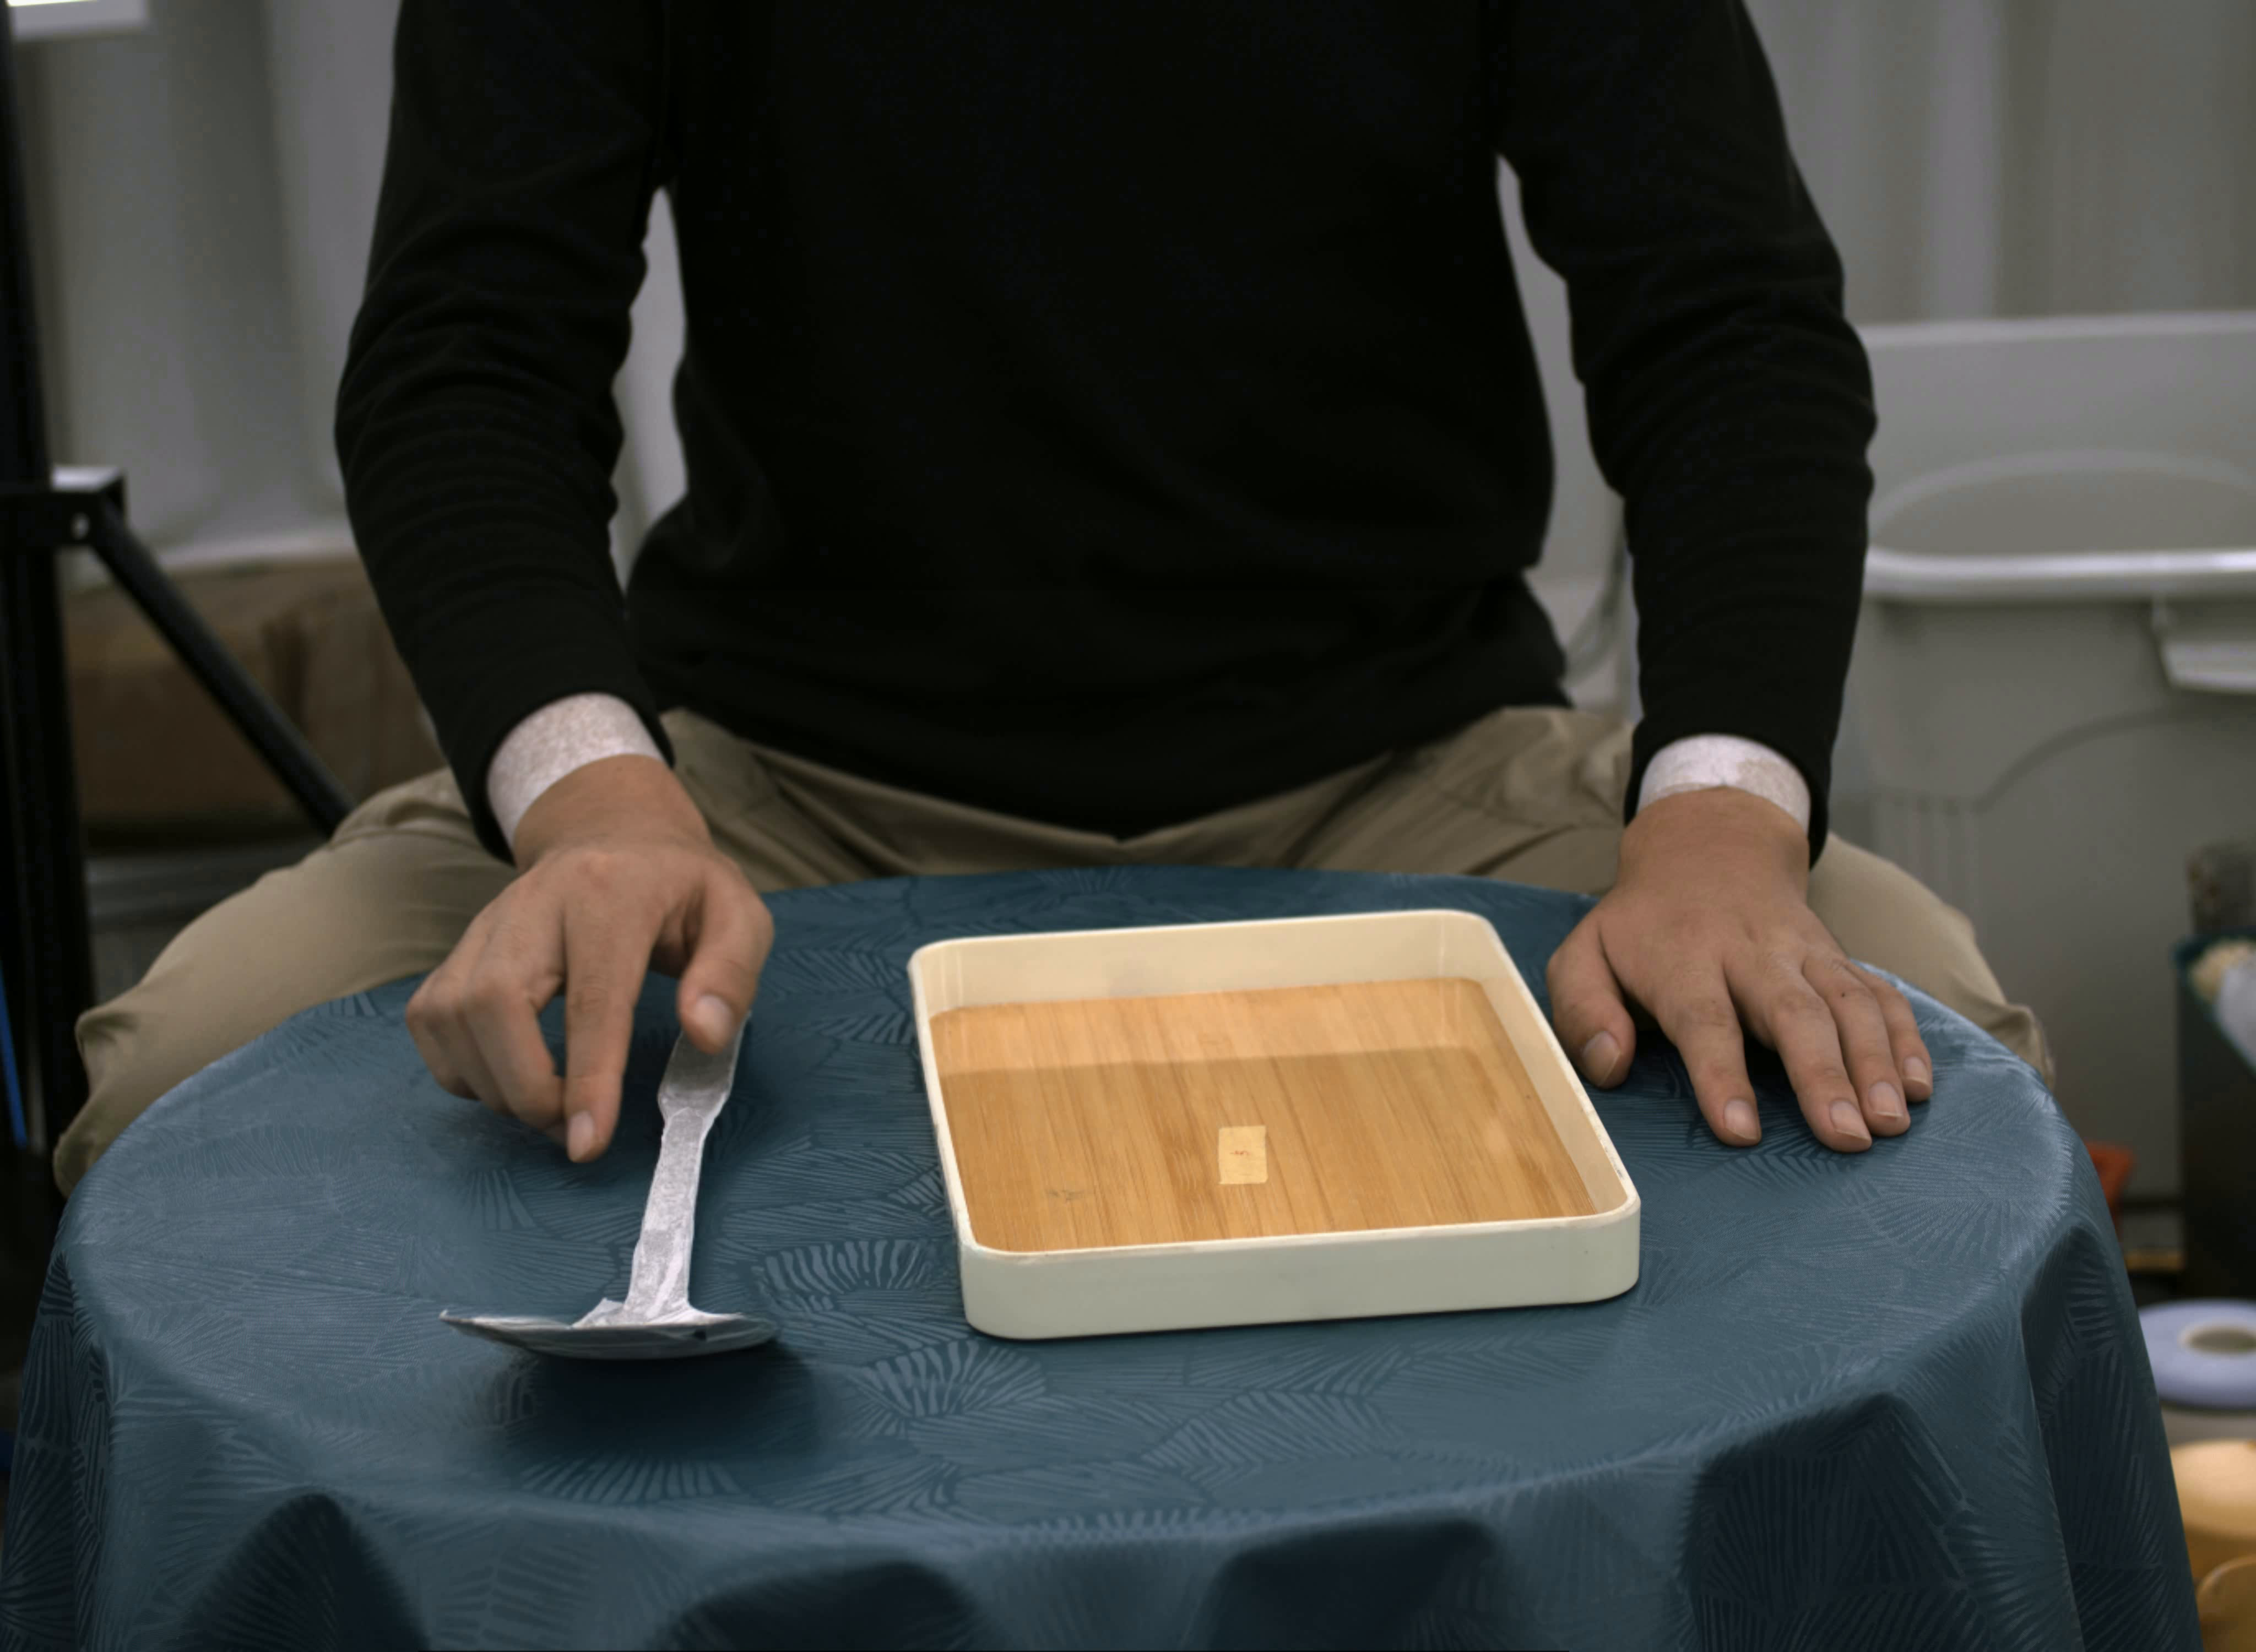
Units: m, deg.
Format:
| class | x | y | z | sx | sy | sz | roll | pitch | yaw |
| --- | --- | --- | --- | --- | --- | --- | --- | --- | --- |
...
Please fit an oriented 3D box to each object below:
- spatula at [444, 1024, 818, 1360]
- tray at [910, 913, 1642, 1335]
| class | x | y | z | sx | sy | sz | roll | pitch | yaw |
| --- | --- | --- | --- | --- | --- | --- | --- | --- | --- |
| spatula | -0.128 | 0.097 | 1.547 | 0.098 | 0.045 | 0.366 | -3 | 16 | 1 |
| tray | 0.037 | 0.085 | 1.585 | 0.190 | 0.027 | 0.302 | -4 | 16 | -3 |
